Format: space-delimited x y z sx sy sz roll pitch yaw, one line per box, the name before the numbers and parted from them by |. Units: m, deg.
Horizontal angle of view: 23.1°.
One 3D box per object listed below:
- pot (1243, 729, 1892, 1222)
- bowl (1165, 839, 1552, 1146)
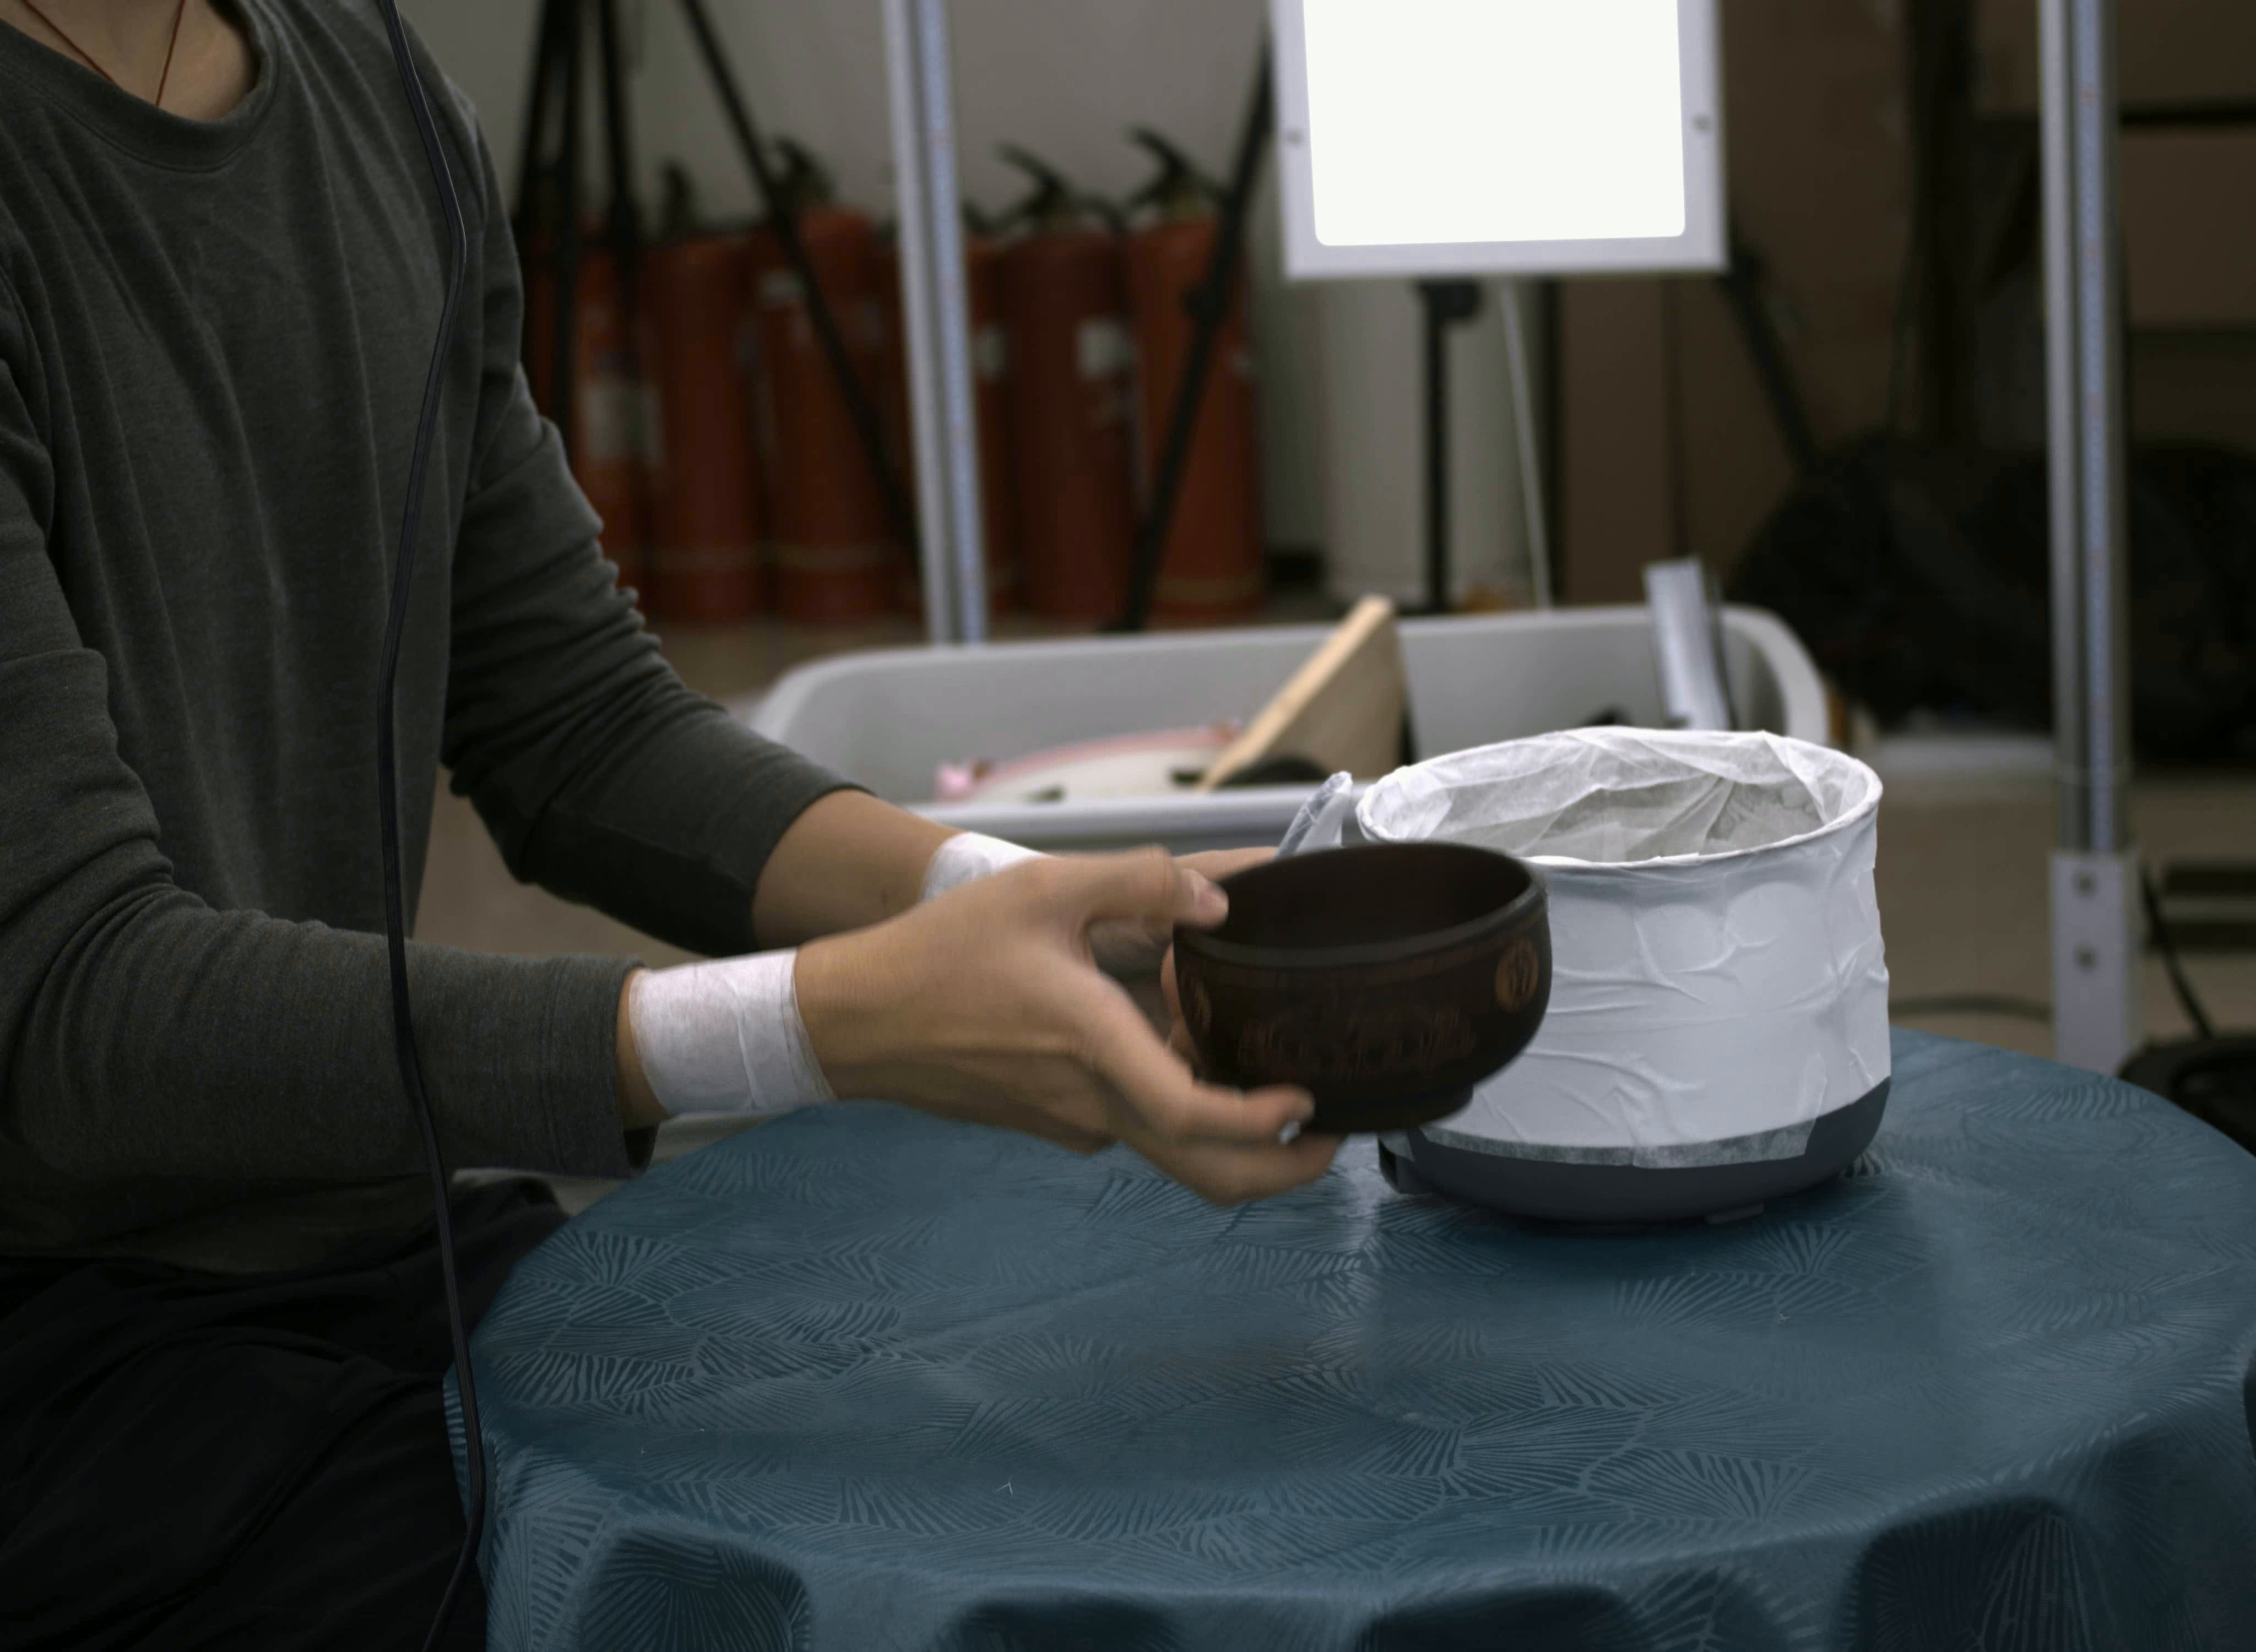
pot | 0.144 0.050 1.870 0.237 0.137 0.175 1 15 22
bowl | 0.074 0.056 1.686 0.118 0.070 0.118 -11 17 2
